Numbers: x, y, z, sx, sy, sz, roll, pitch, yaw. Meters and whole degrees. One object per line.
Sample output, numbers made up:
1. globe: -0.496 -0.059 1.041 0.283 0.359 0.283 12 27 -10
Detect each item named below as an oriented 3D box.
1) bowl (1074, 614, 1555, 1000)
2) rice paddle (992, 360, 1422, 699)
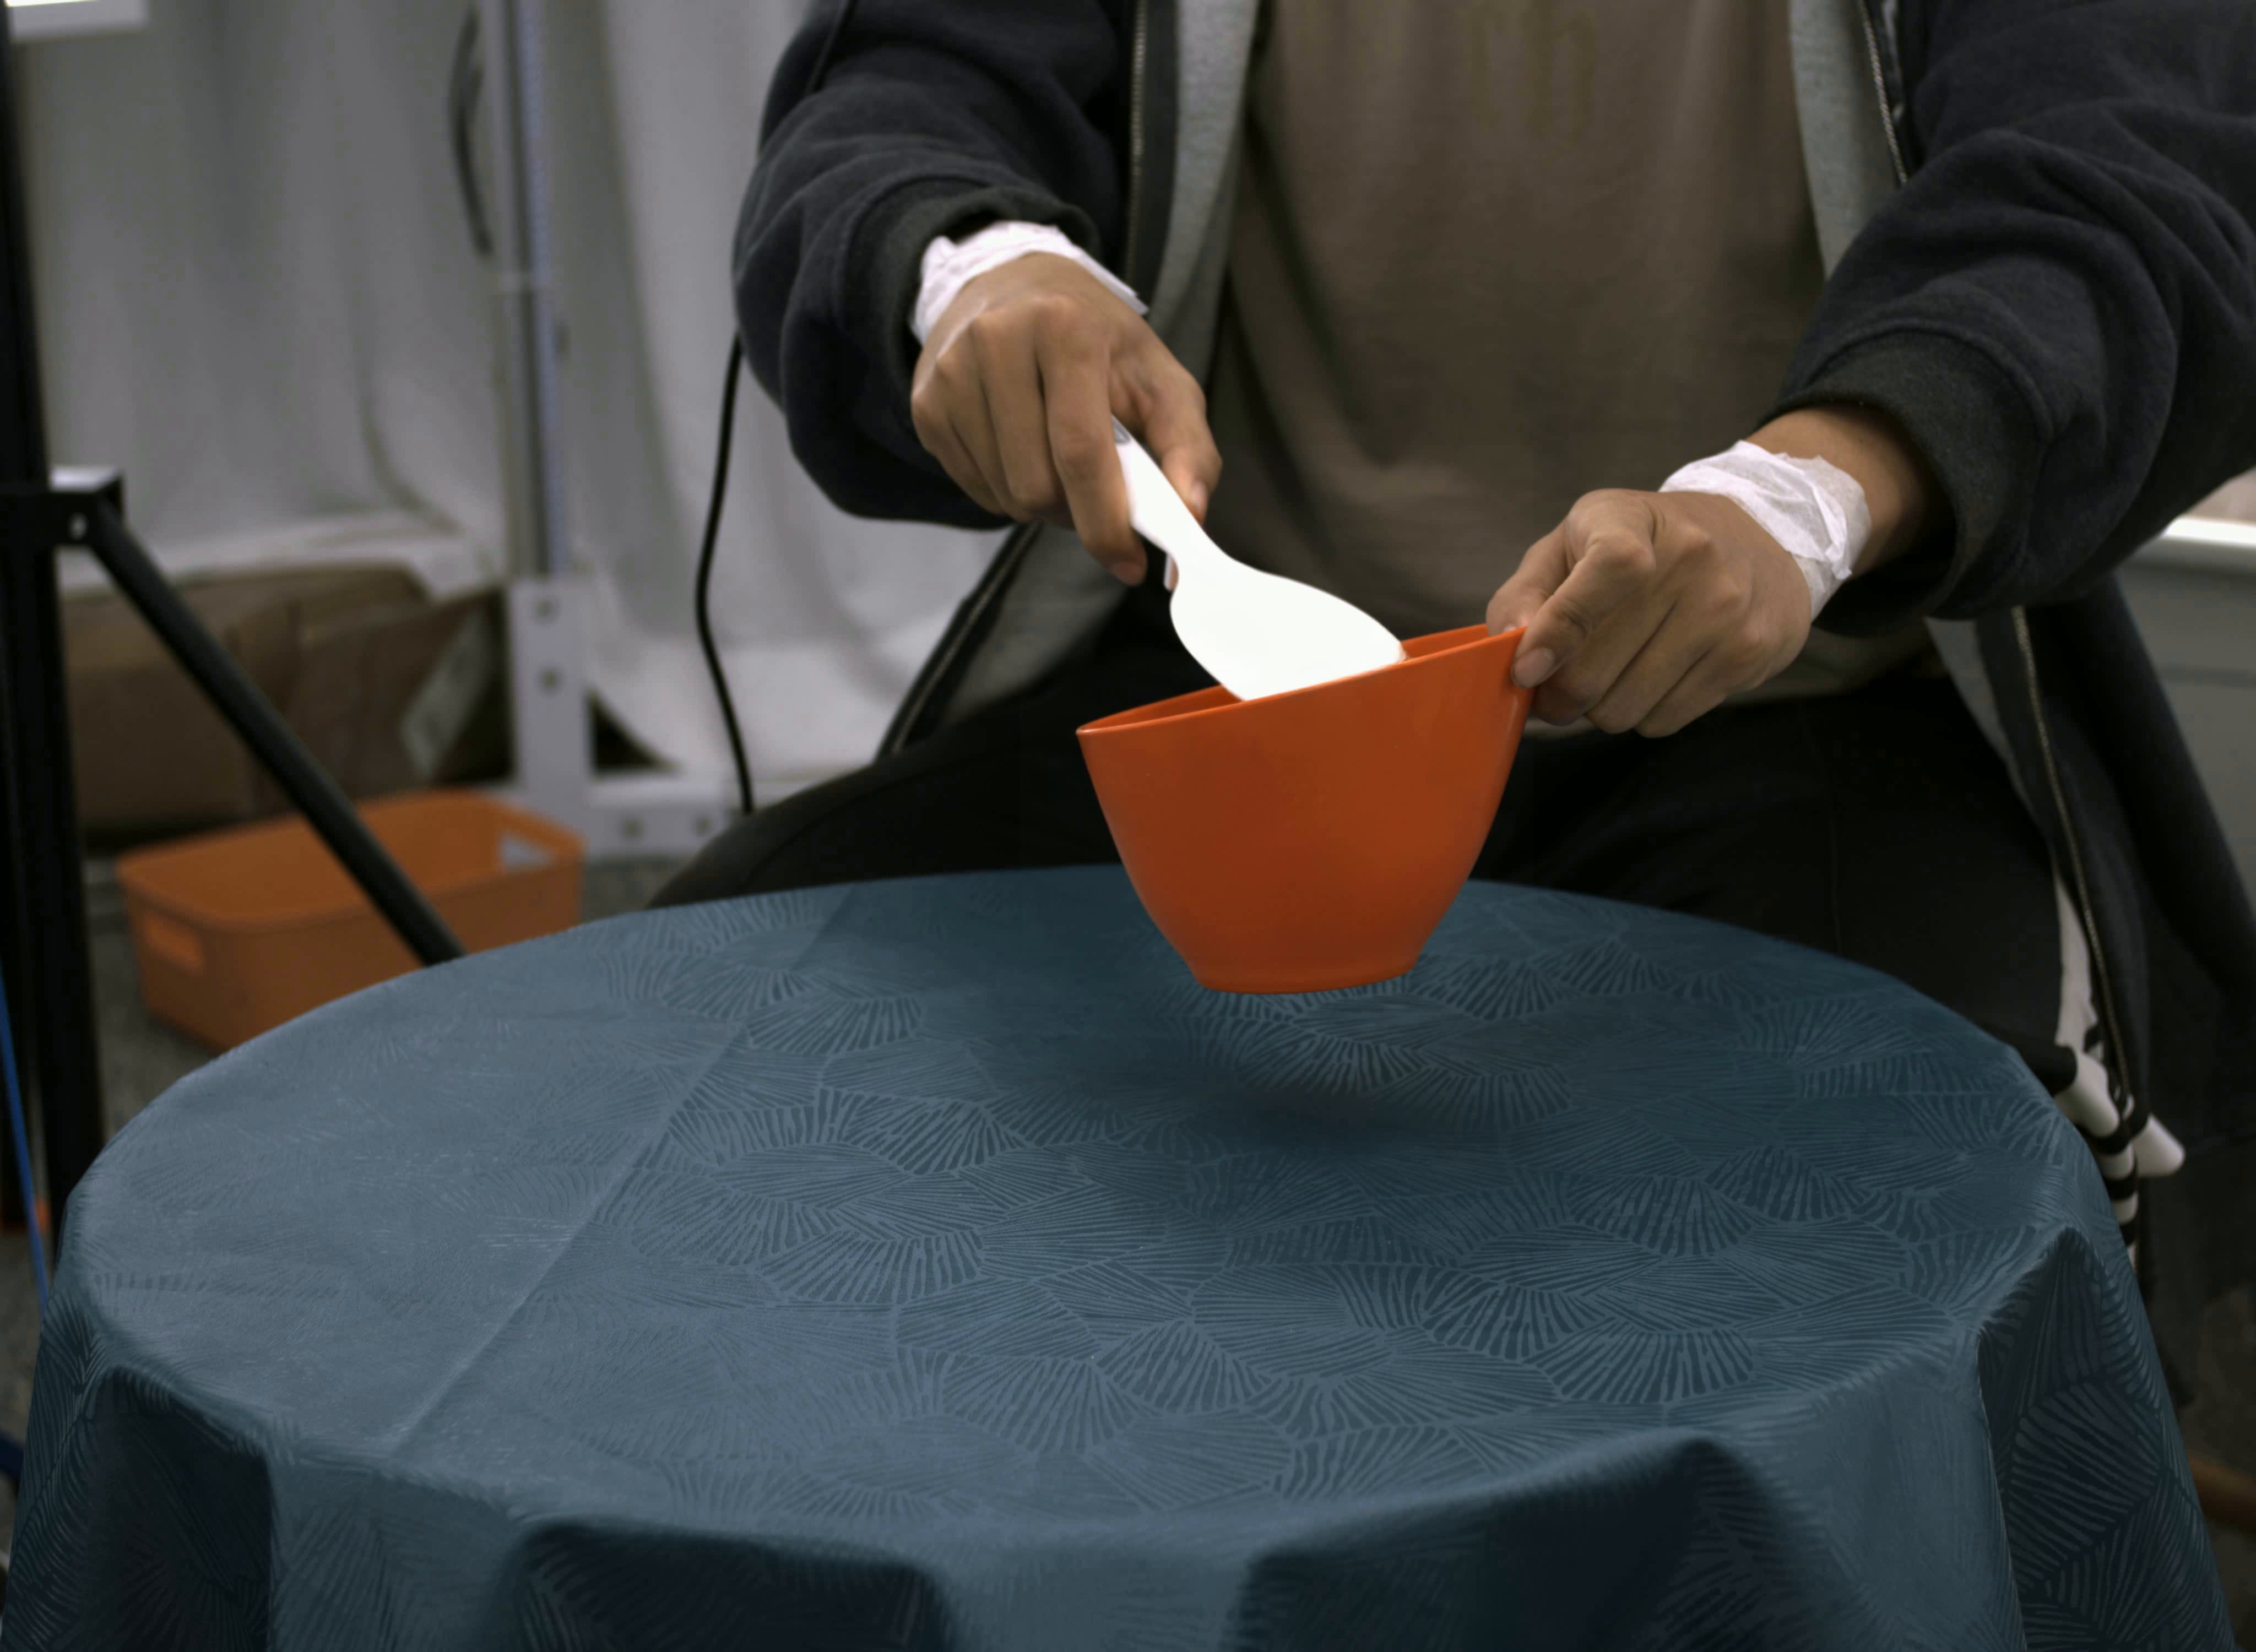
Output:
1. bowl: 0.059 -0.005 1.598 0.147 0.105 0.148 -6 9 0
2. rice paddle: 0.022 -0.086 1.656 0.067 0.029 0.210 -13 37 -29
